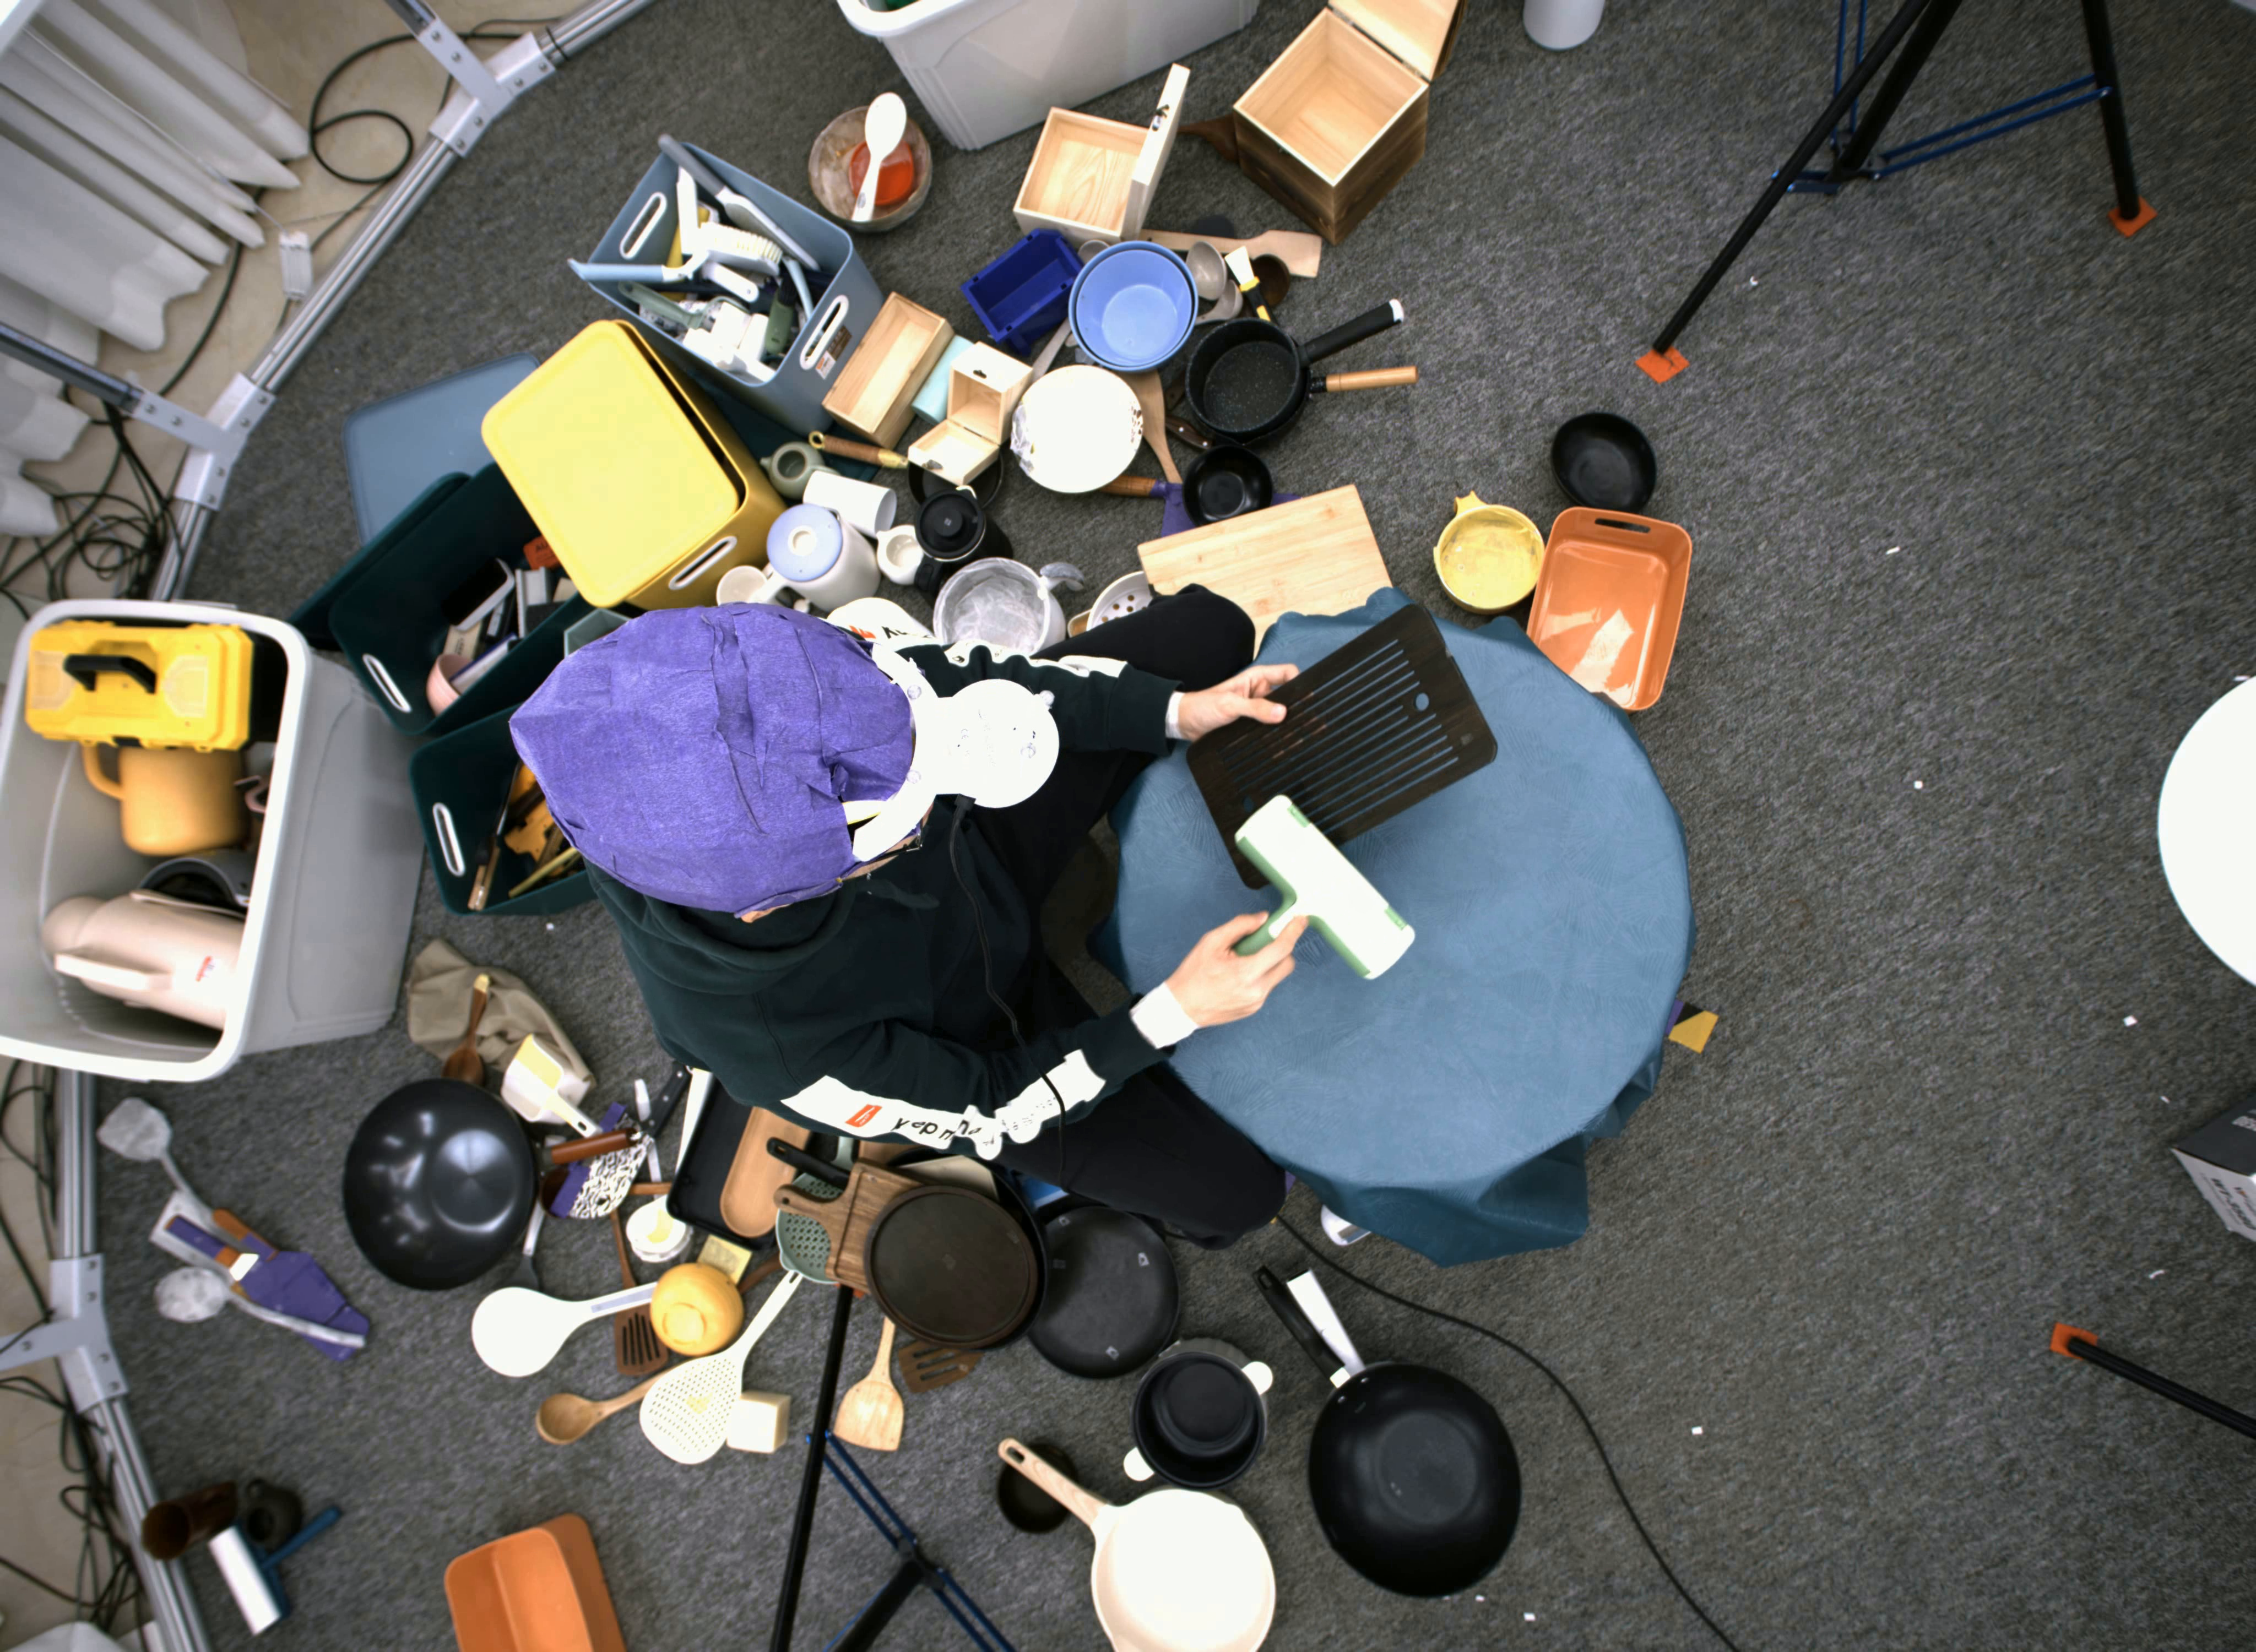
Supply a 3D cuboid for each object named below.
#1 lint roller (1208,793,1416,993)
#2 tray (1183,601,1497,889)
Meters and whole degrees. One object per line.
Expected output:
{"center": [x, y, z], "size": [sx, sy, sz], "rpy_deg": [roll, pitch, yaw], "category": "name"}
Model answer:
{"center": [0.149, 0.095, 1.331], "size": [0.183, 0.082, 0.198], "rpy_deg": [-42, 88, -4], "category": "lint roller"}
{"center": [0.200, -0.074, 1.352], "size": [0.312, 0.018, 0.169], "rpy_deg": [-32, 79, 35], "category": "tray"}
